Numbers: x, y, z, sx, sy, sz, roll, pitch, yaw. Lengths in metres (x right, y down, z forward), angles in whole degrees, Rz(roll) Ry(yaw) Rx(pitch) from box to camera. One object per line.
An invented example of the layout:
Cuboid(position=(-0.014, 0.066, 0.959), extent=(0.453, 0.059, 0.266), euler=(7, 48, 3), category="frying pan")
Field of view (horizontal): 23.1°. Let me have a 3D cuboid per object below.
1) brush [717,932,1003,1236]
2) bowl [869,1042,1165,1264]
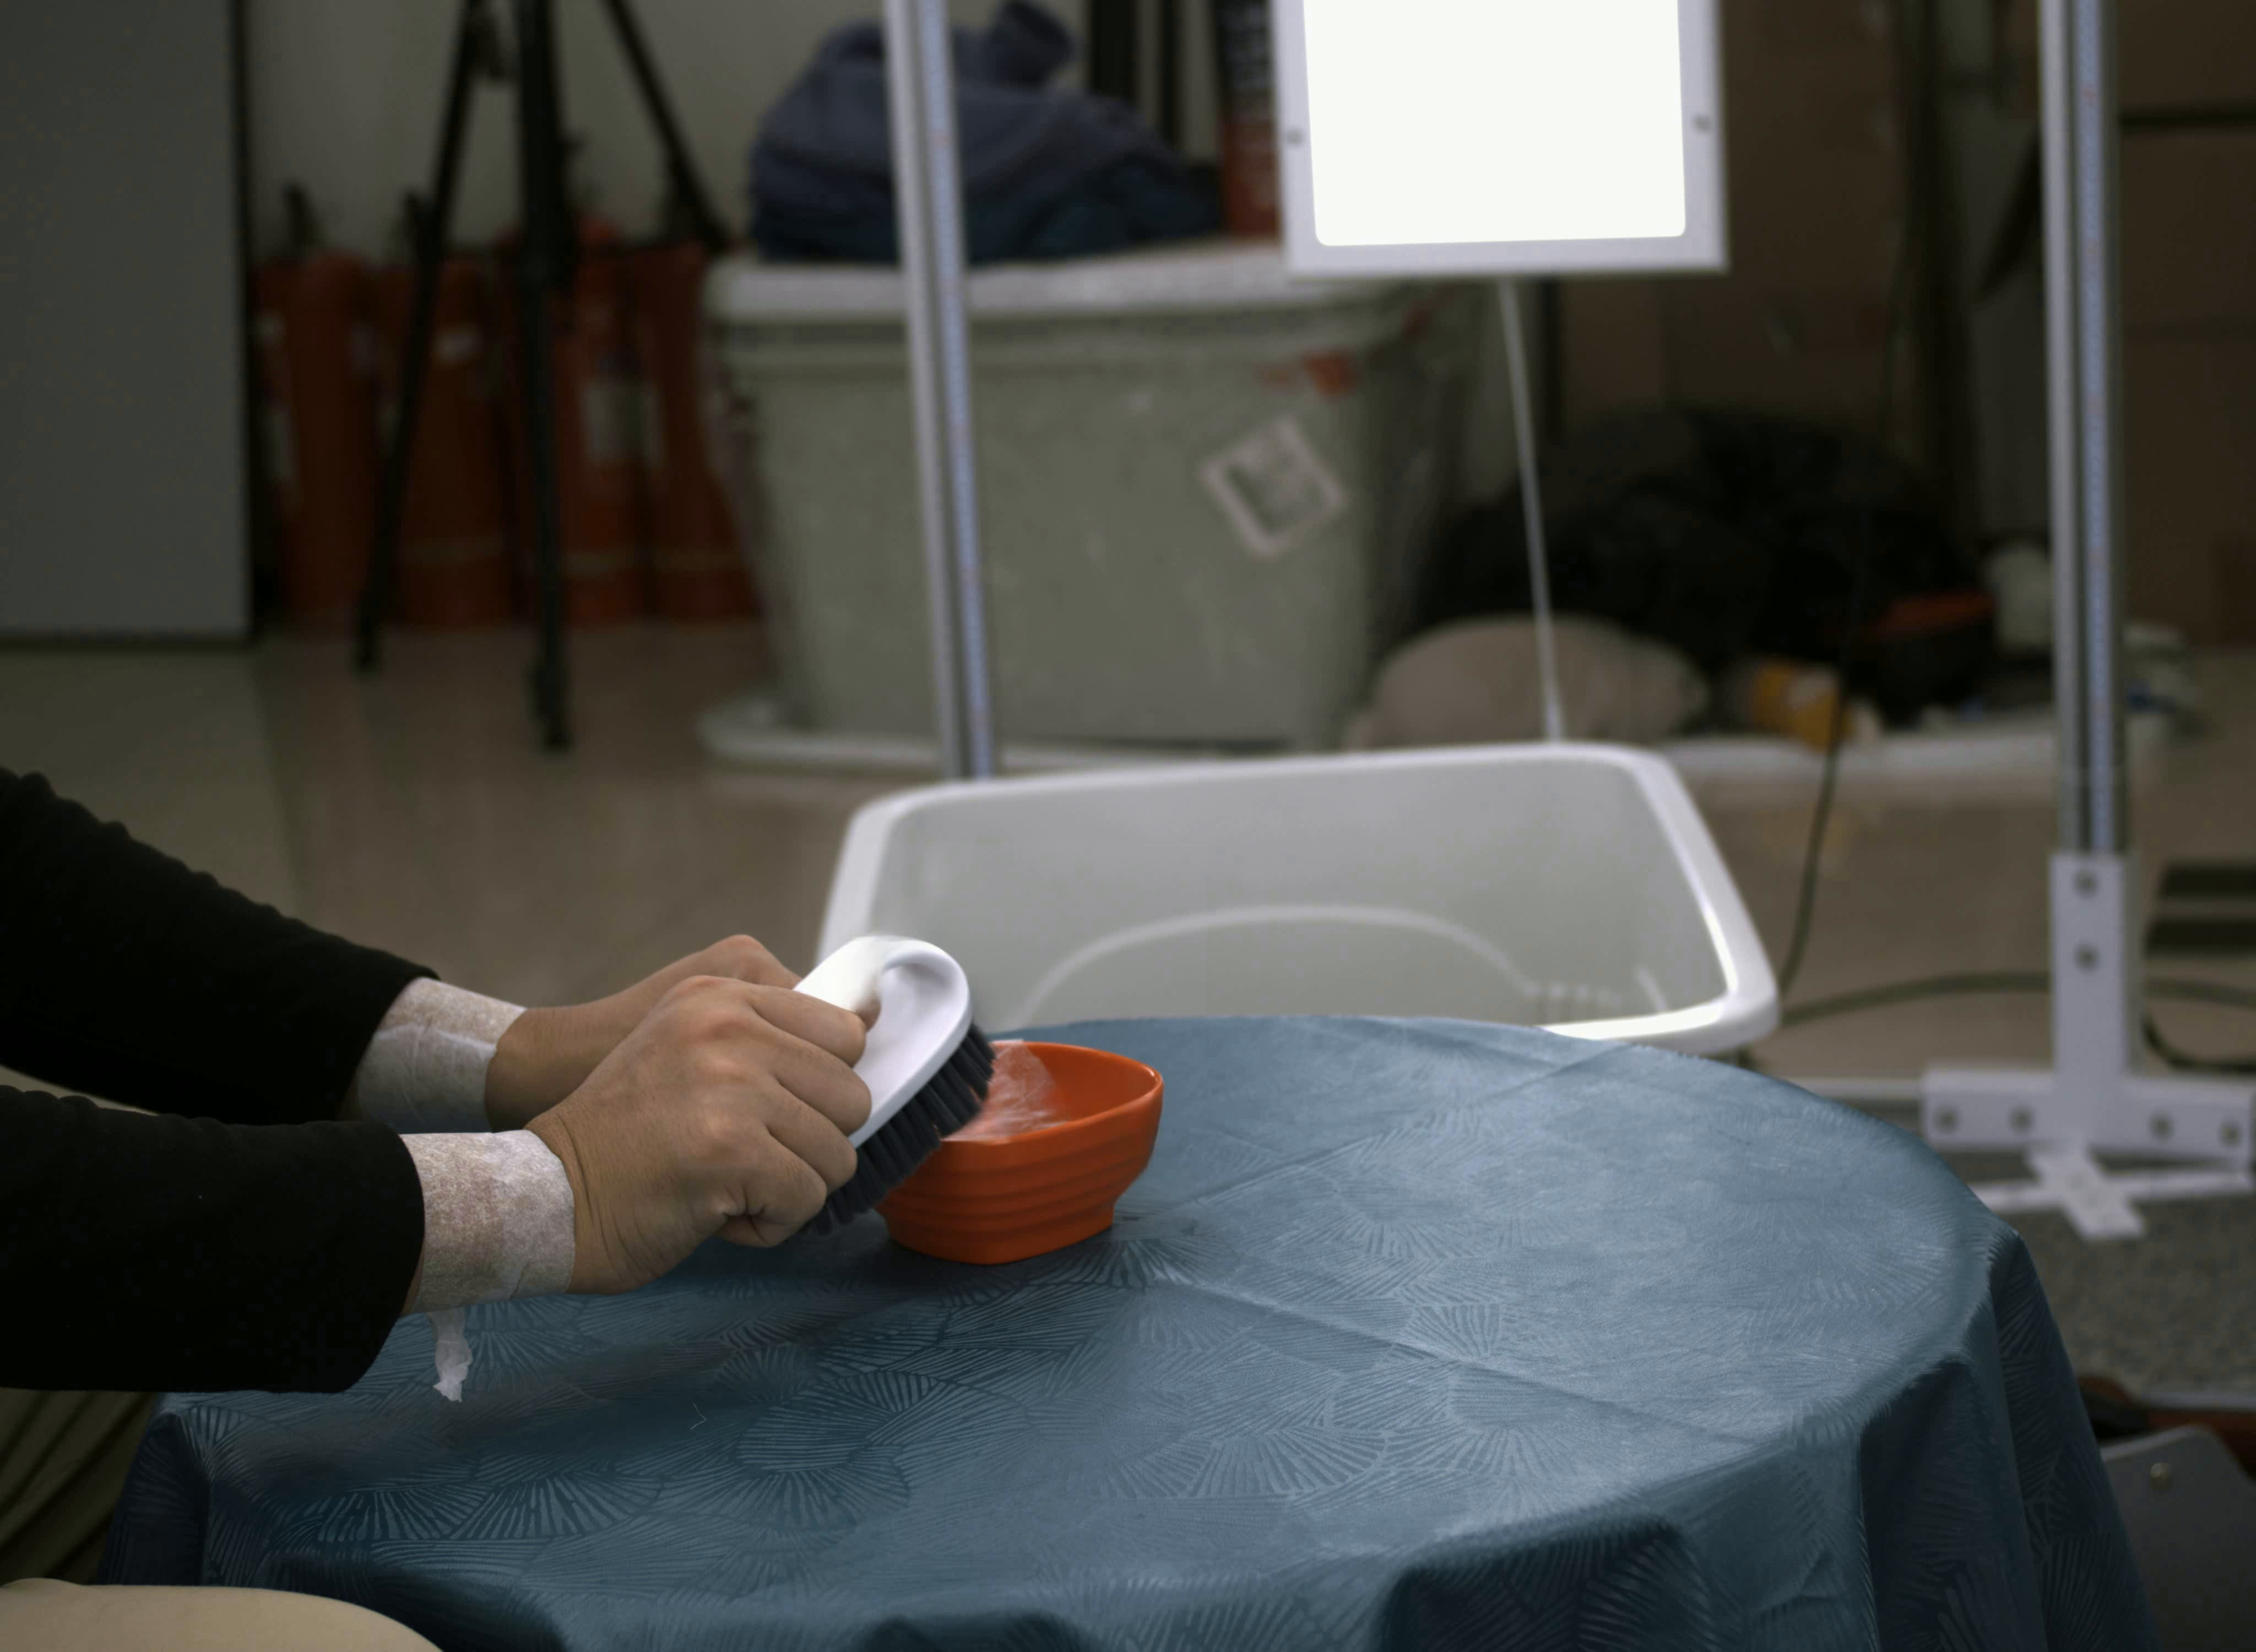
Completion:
Cuboid(position=(-0.090, 0.076, 1.776), extent=(0.098, 0.072, 0.051), euler=(-40, 50, -18), category="brush")
Cuboid(position=(-0.045, 0.113, 1.863), extent=(0.118, 0.051, 0.119), euler=(-4, 13, 0), category="bowl")
